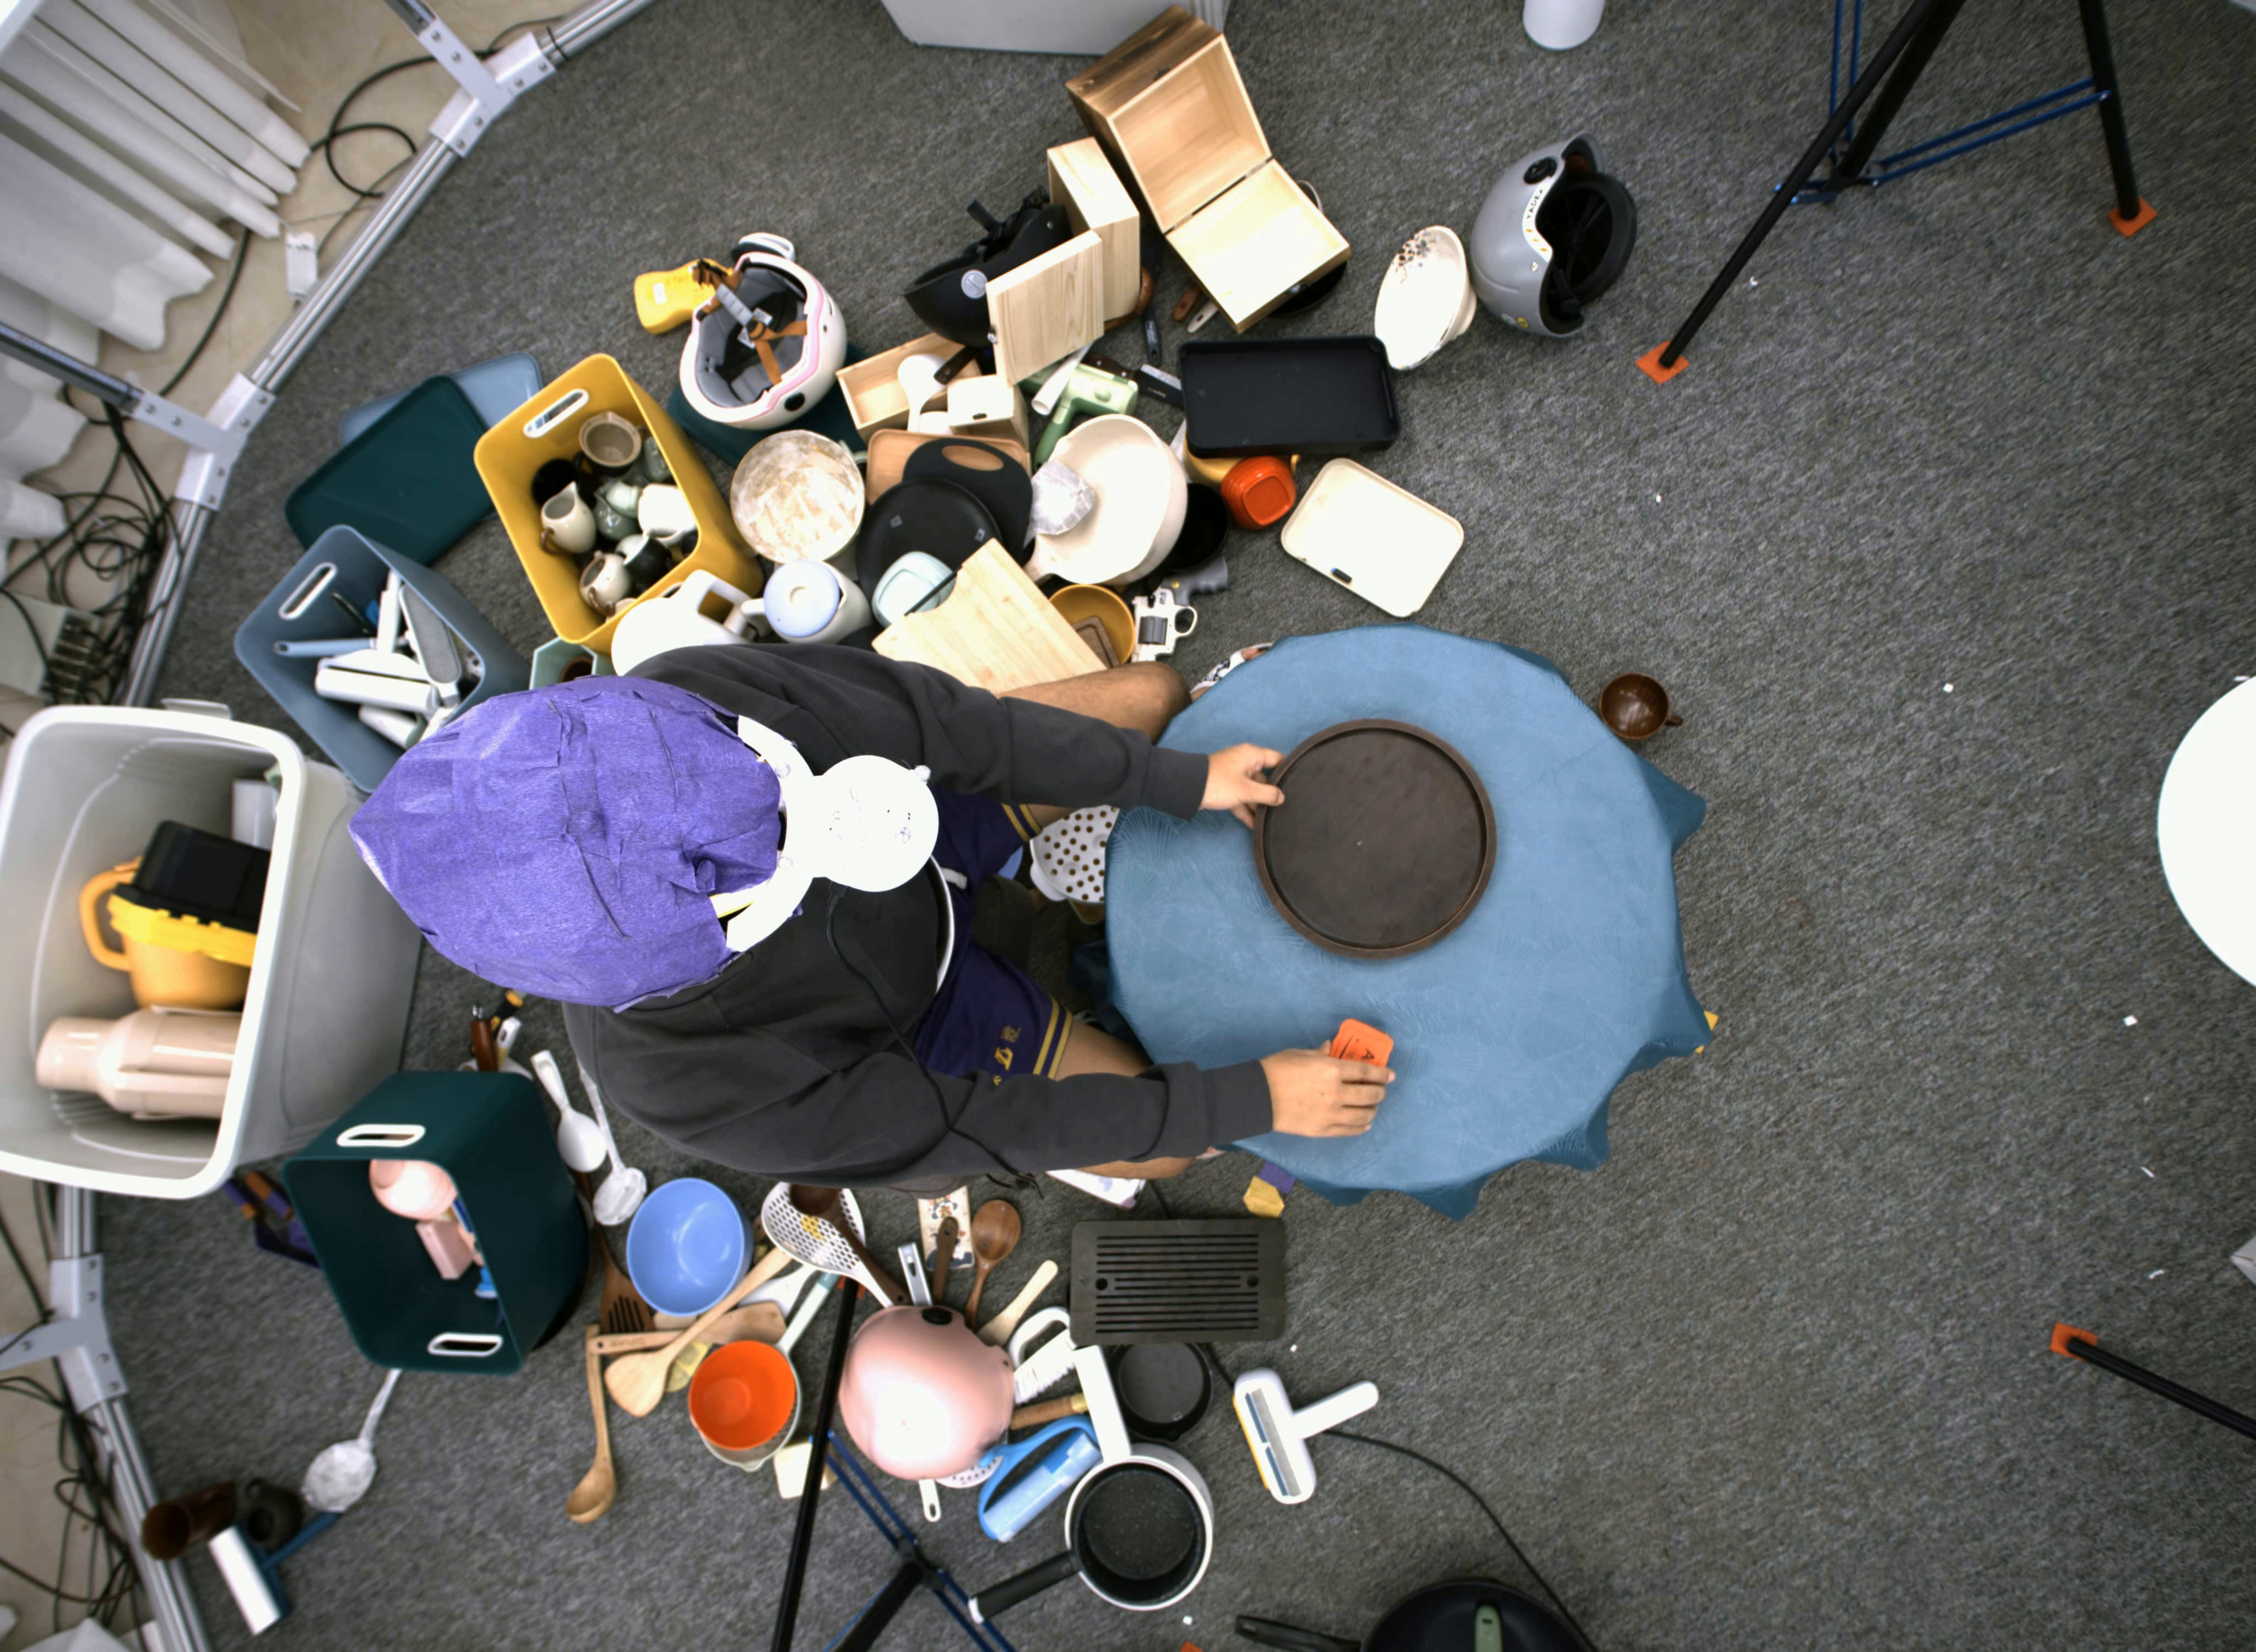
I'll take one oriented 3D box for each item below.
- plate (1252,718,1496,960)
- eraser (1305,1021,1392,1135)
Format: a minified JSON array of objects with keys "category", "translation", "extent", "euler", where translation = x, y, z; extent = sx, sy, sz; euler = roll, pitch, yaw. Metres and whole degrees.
[{"category":"plate","translation":[0.256,0.012,1.445],"extent":[0.255,0.029,0.255],"euler":[0,92,7]},{"category":"eraser","translation":[0.227,0.258,1.427],"extent":[0.059,0.023,0.108],"euler":[24,98,14]}]
